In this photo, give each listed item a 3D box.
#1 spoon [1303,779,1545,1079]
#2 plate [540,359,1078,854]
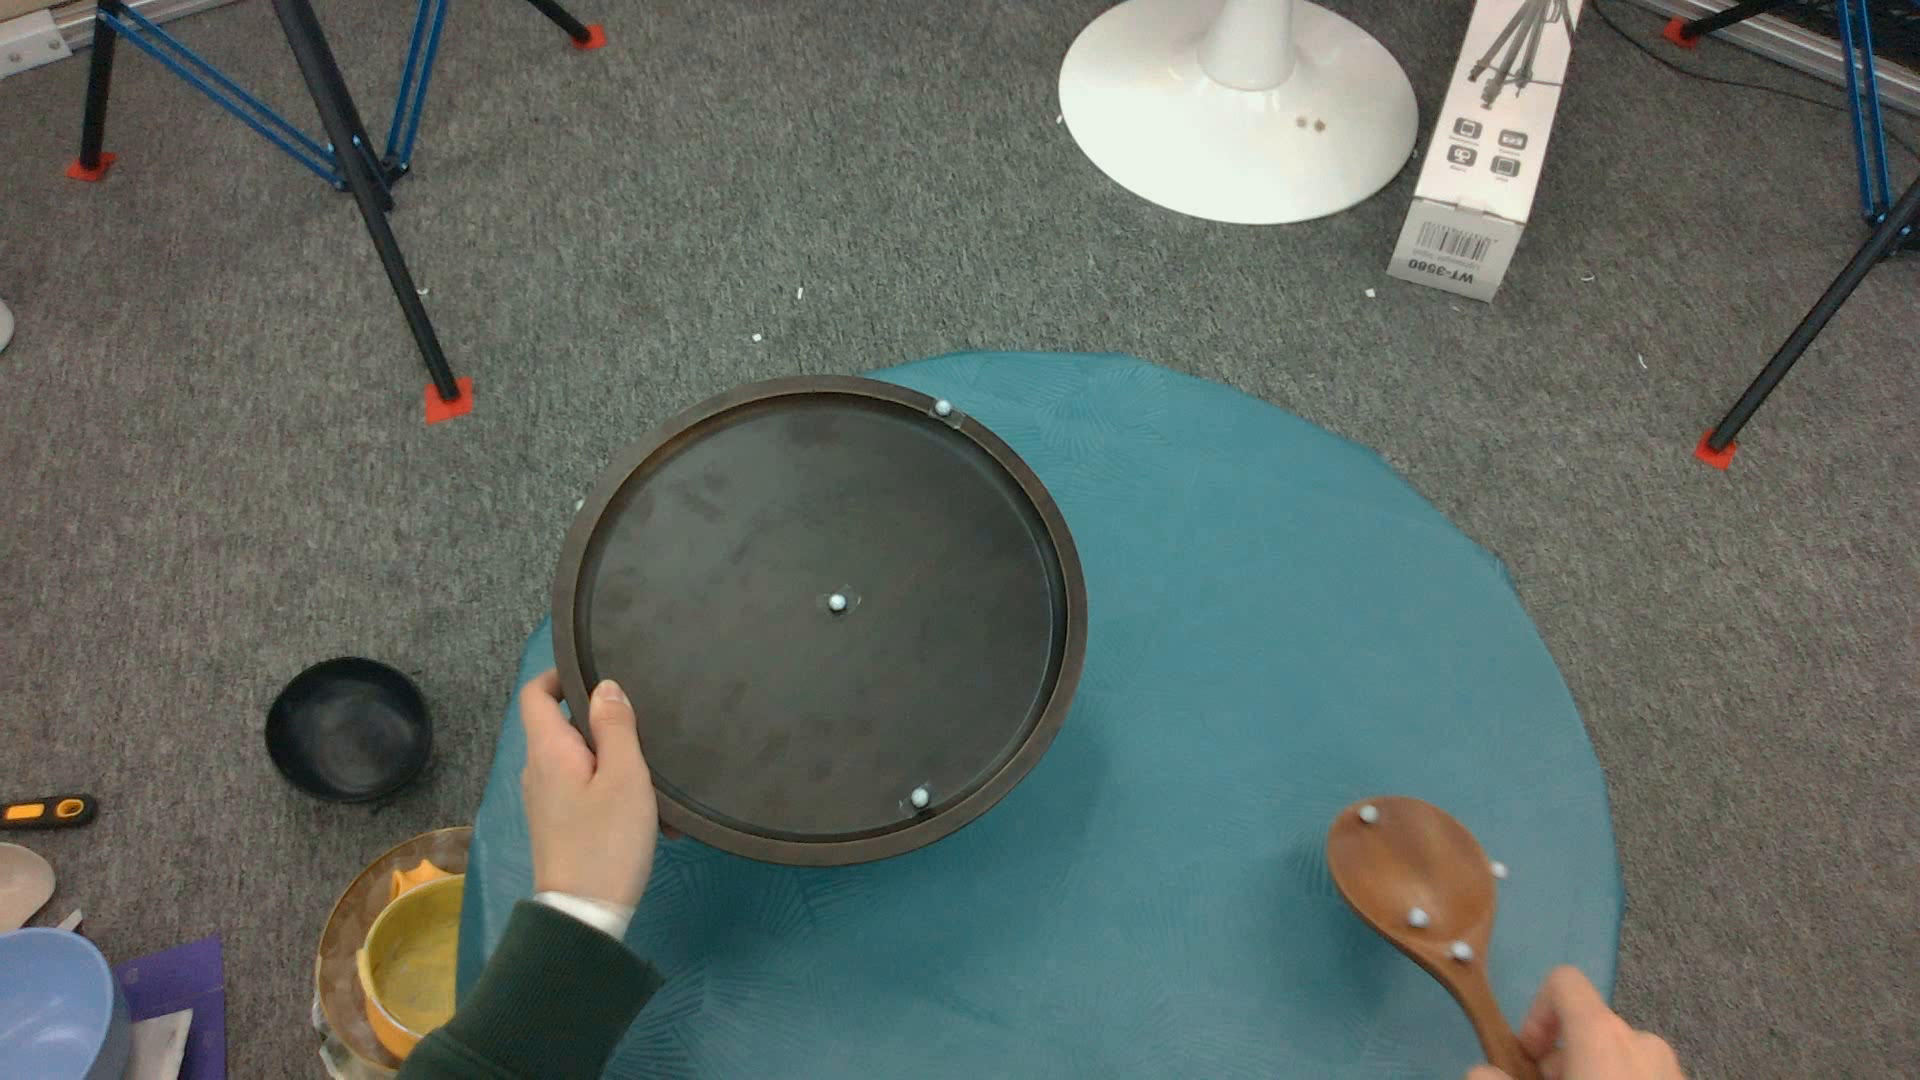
[{"bbox_3d":[0.214,0.187,0.606,0.075,0.017,0.216,-7,36,-7],"label":"spoon"},{"bbox_3d":[-0.070,0.025,0.659,0.255,0.029,0.256,3,63,-5],"label":"plate"}]
